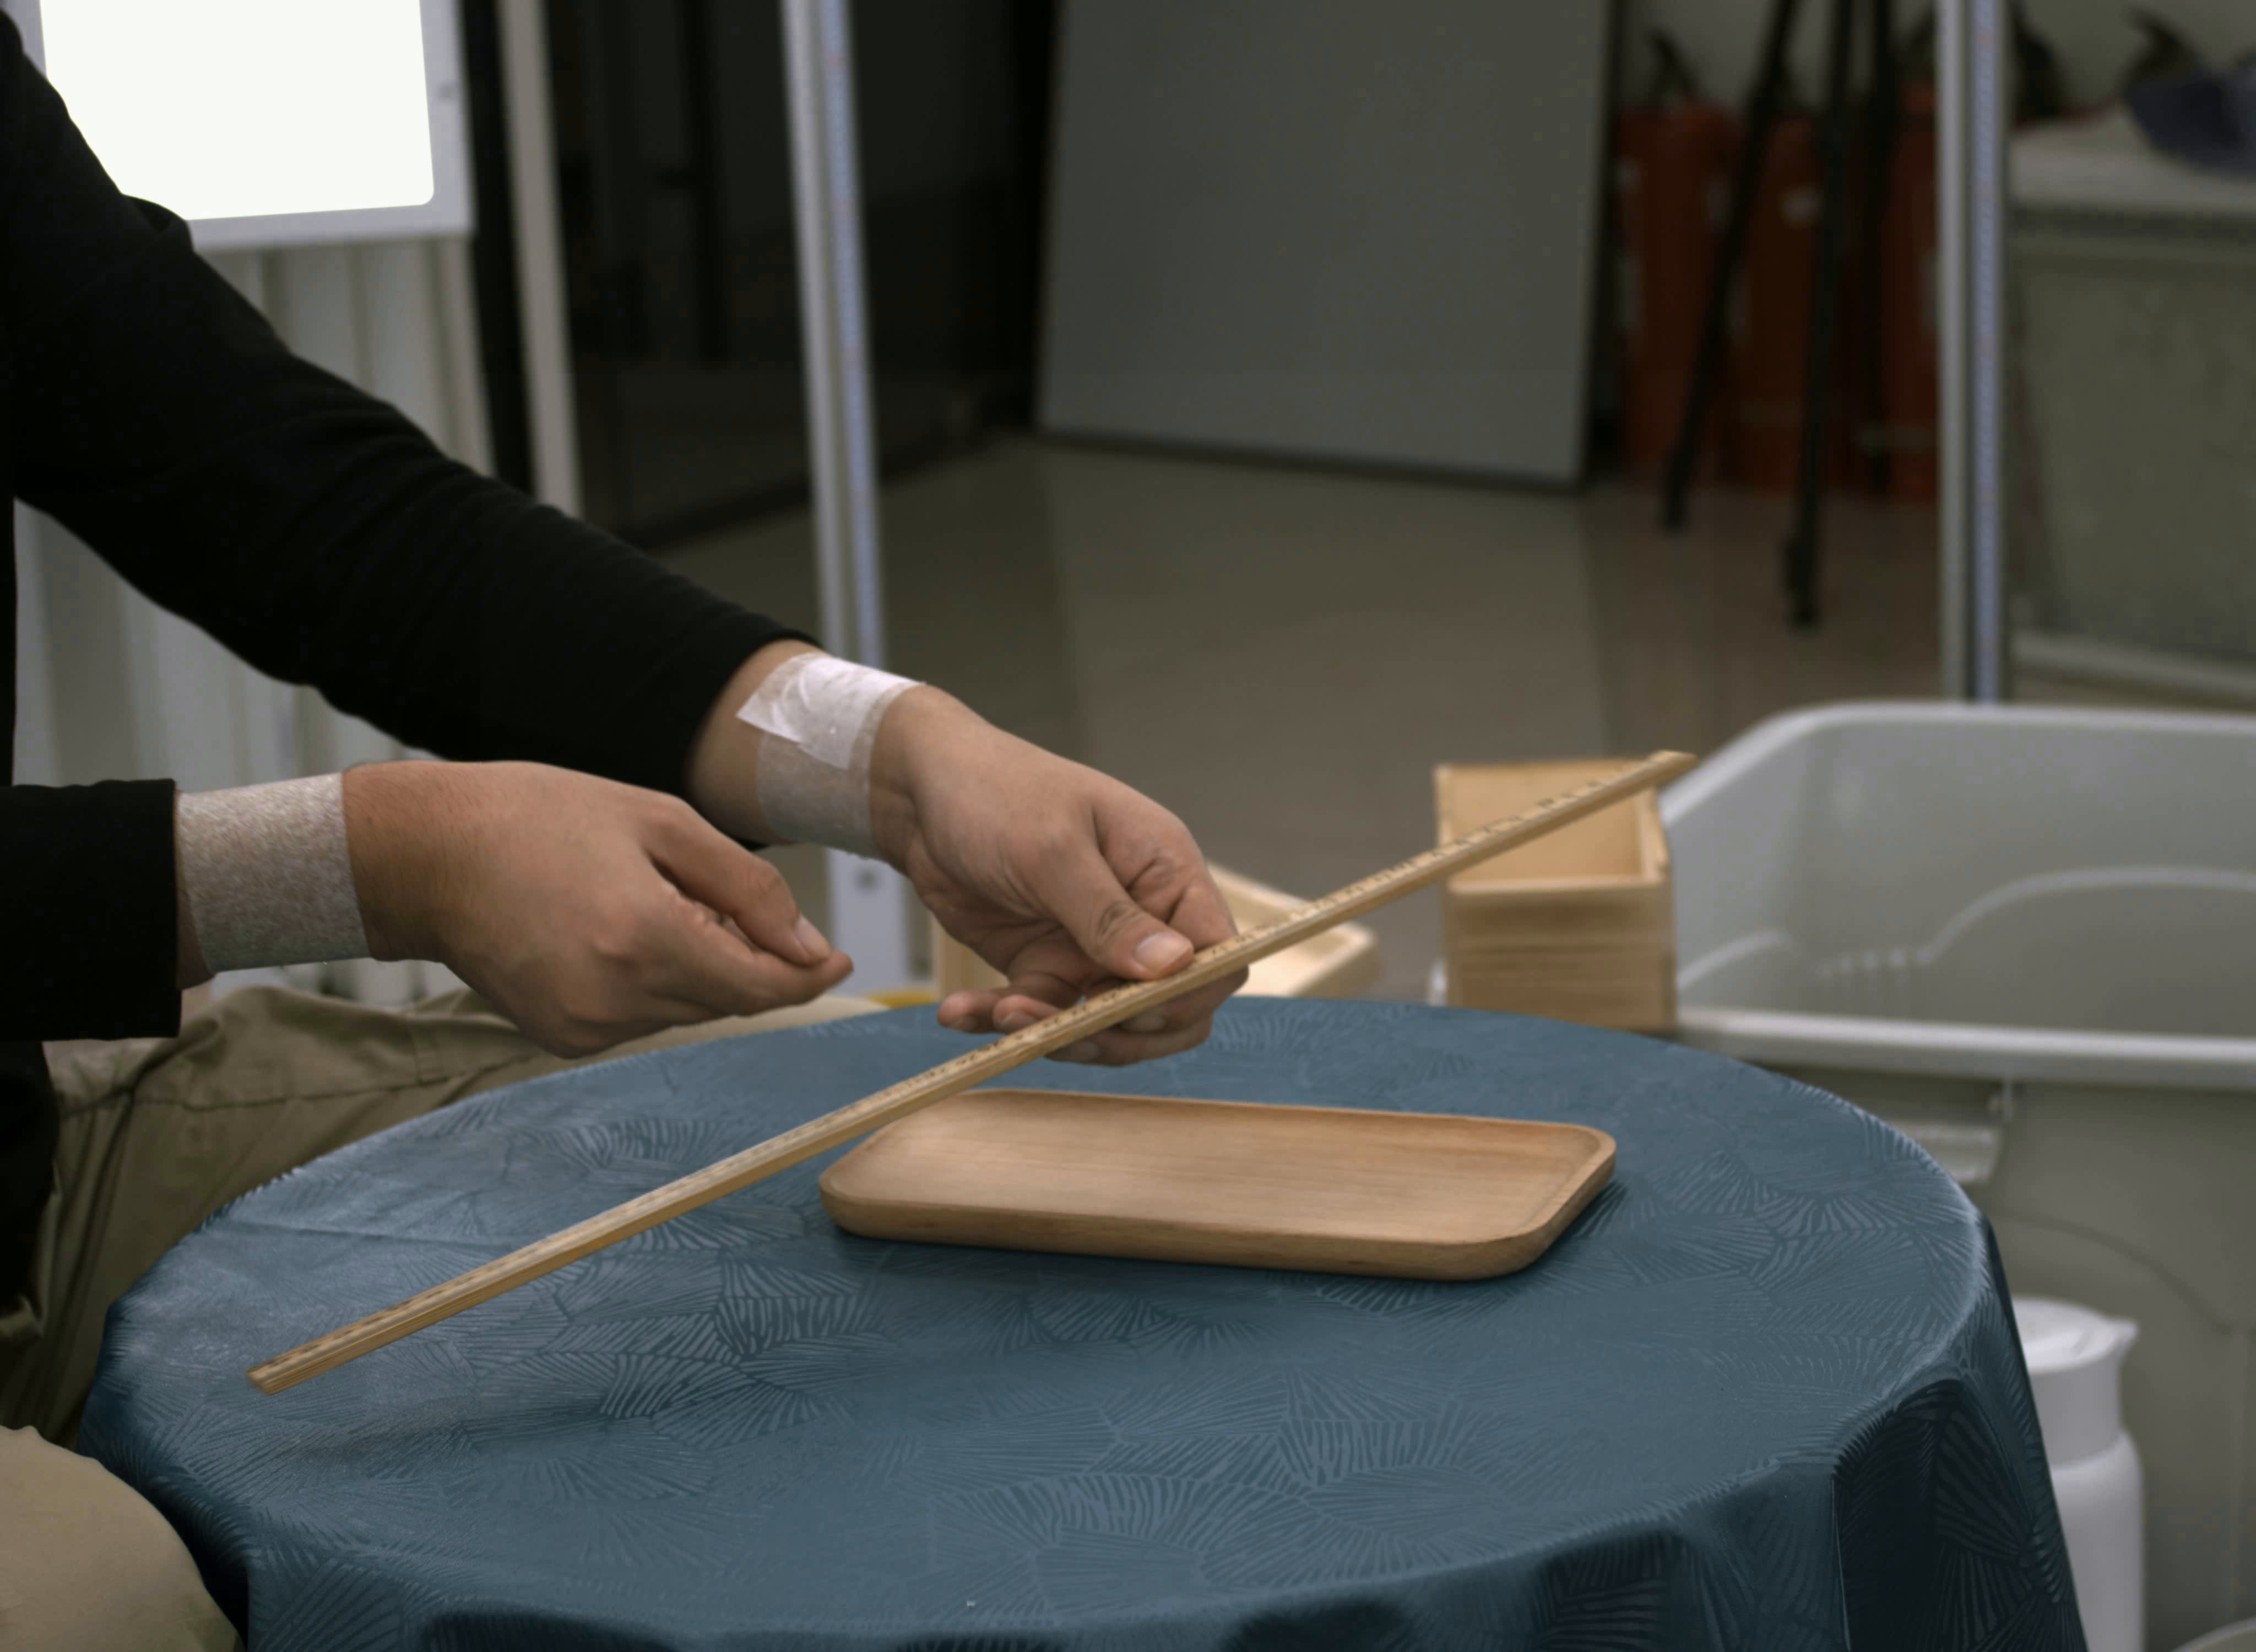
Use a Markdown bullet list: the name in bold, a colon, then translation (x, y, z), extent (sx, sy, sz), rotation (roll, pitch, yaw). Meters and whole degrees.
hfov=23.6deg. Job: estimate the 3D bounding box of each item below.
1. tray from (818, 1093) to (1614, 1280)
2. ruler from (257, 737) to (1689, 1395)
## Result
- **tray**: translation (0.029, 0.116, 1.750), extent (0.251, 0.023, 0.129), rotation (1, 12, 25)
- **ruler**: translation (-0.038, 0.068, 1.648), extent (0.492, 0.006, 0.027), rotation (-24, 9, -19)
